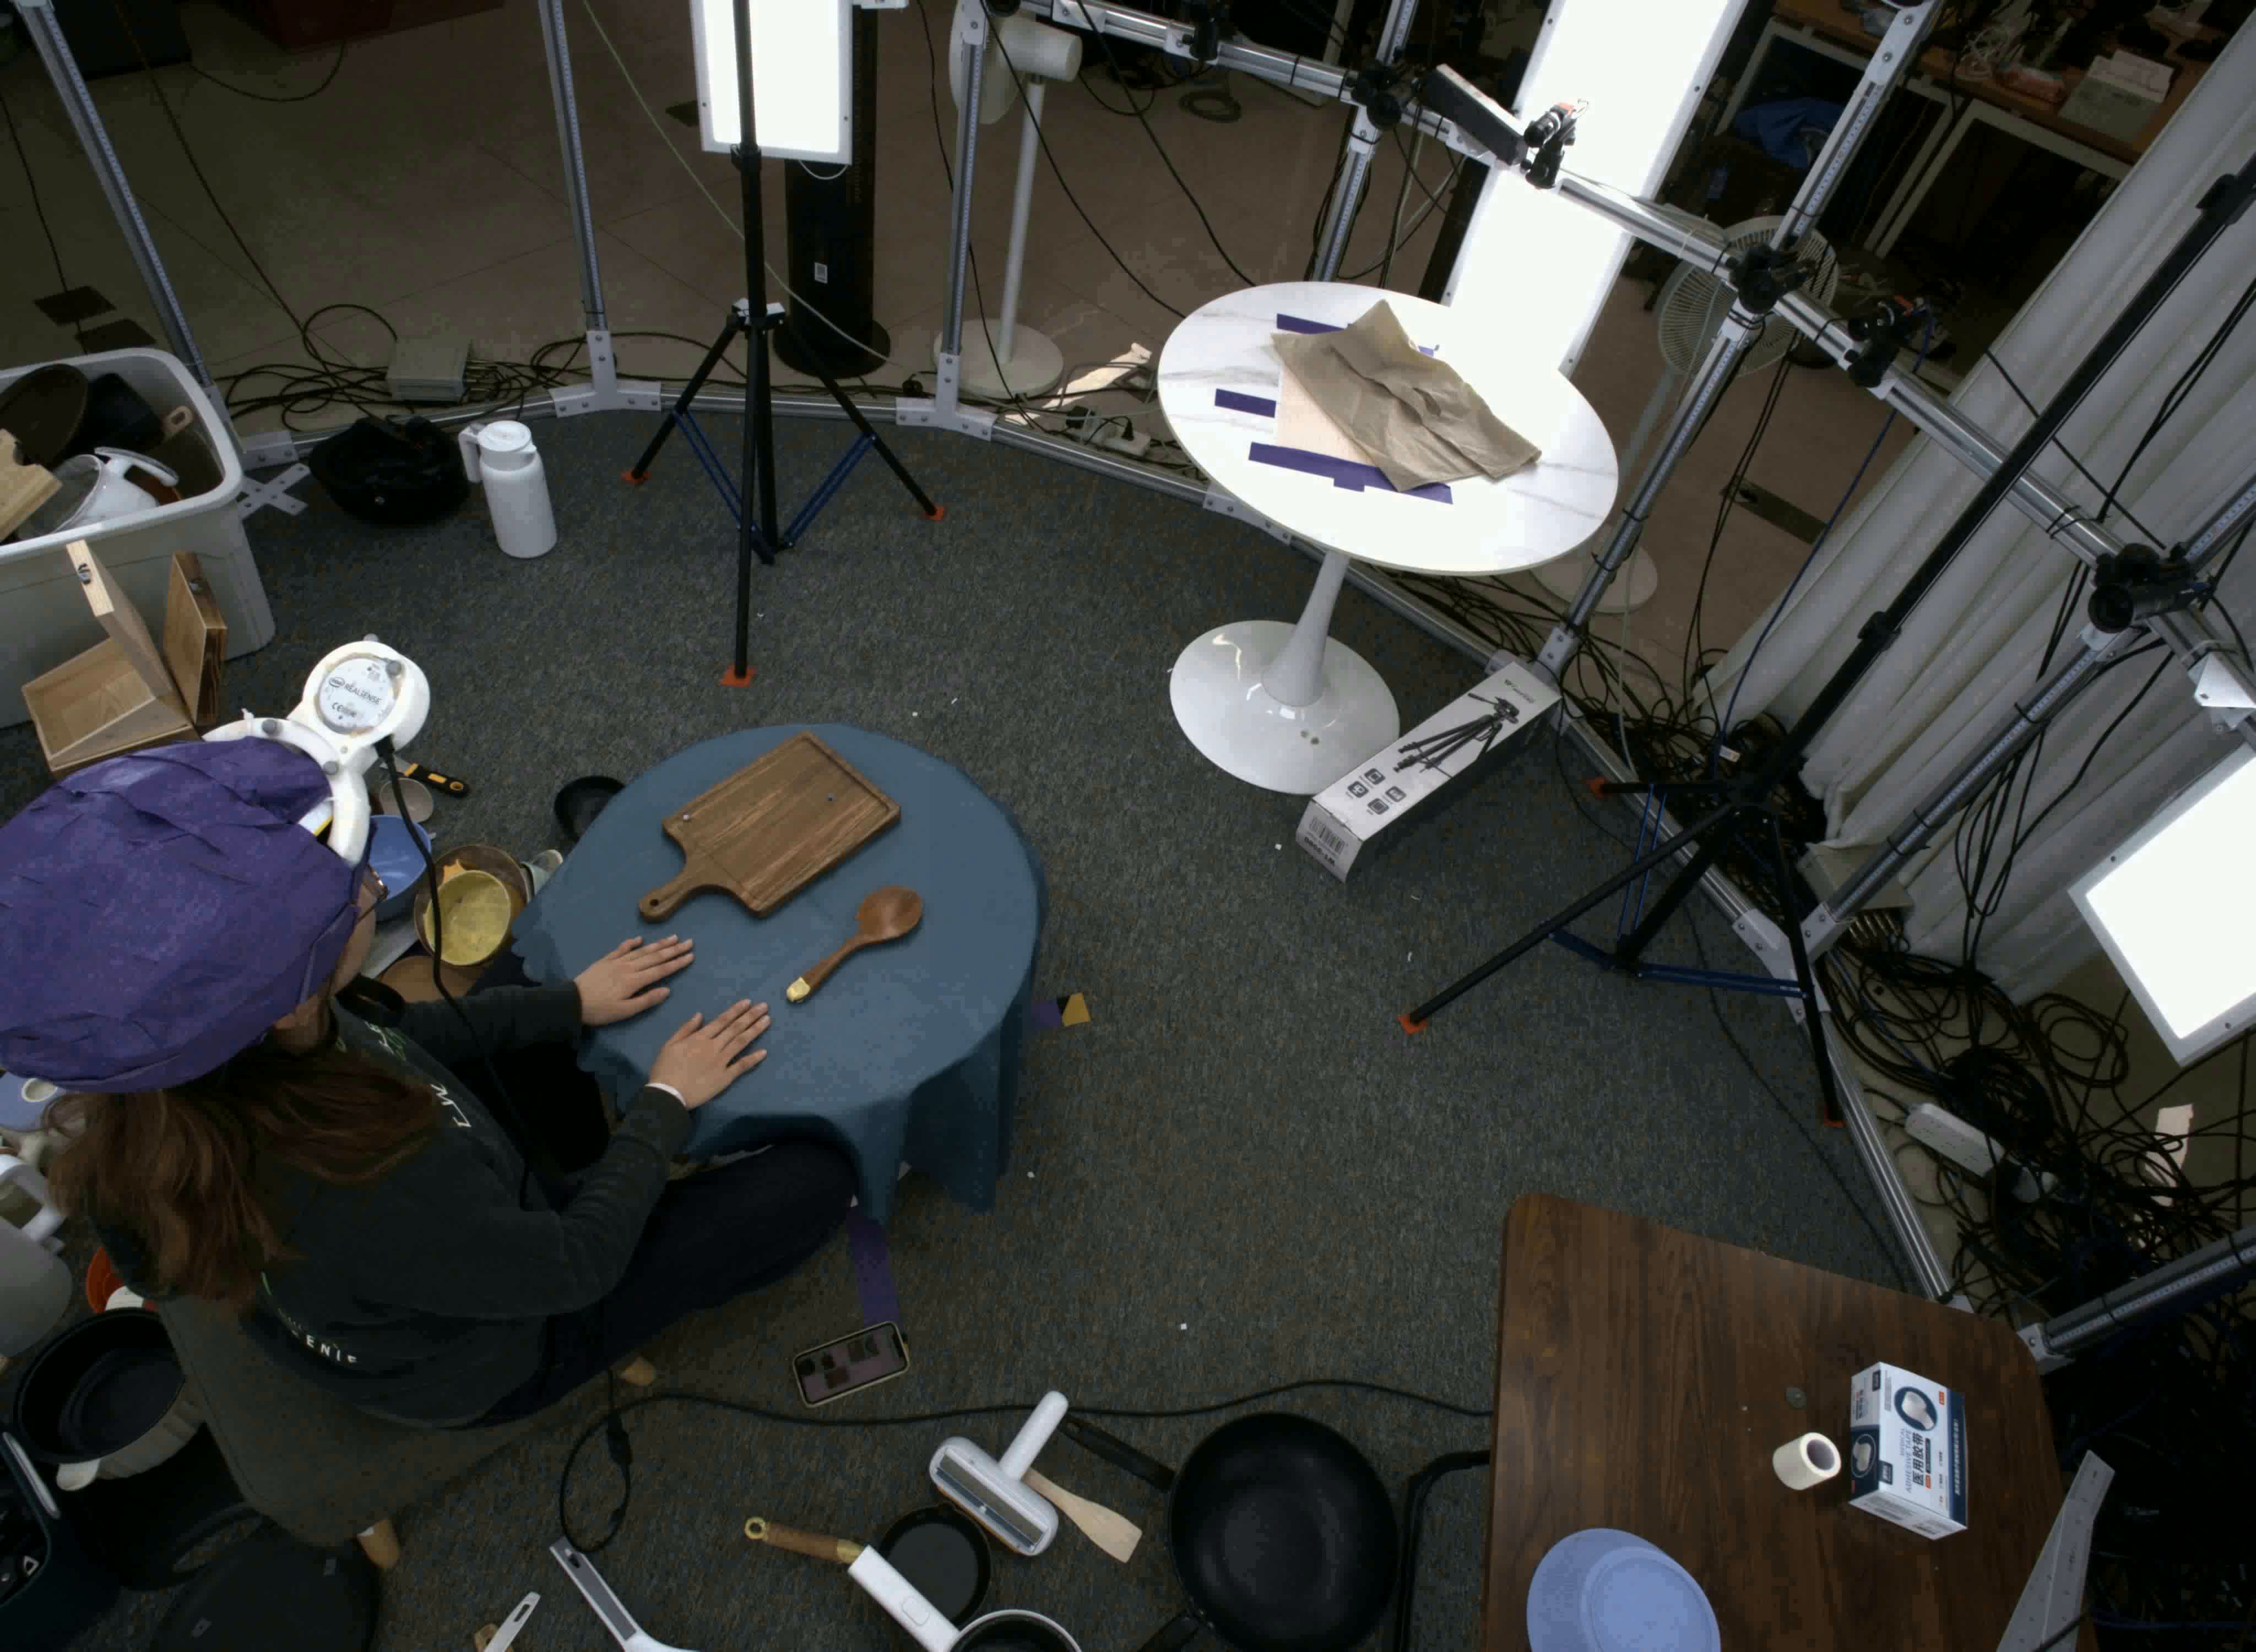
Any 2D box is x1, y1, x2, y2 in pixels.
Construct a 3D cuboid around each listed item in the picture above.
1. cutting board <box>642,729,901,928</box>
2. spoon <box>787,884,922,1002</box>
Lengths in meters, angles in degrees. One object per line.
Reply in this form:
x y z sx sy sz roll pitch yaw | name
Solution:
-0.488 0.018 1.688 0.197 0.023 0.352 40 55 14 | cutting board
-0.344 0.146 1.630 0.074 0.017 0.216 38 53 12 | spoon
